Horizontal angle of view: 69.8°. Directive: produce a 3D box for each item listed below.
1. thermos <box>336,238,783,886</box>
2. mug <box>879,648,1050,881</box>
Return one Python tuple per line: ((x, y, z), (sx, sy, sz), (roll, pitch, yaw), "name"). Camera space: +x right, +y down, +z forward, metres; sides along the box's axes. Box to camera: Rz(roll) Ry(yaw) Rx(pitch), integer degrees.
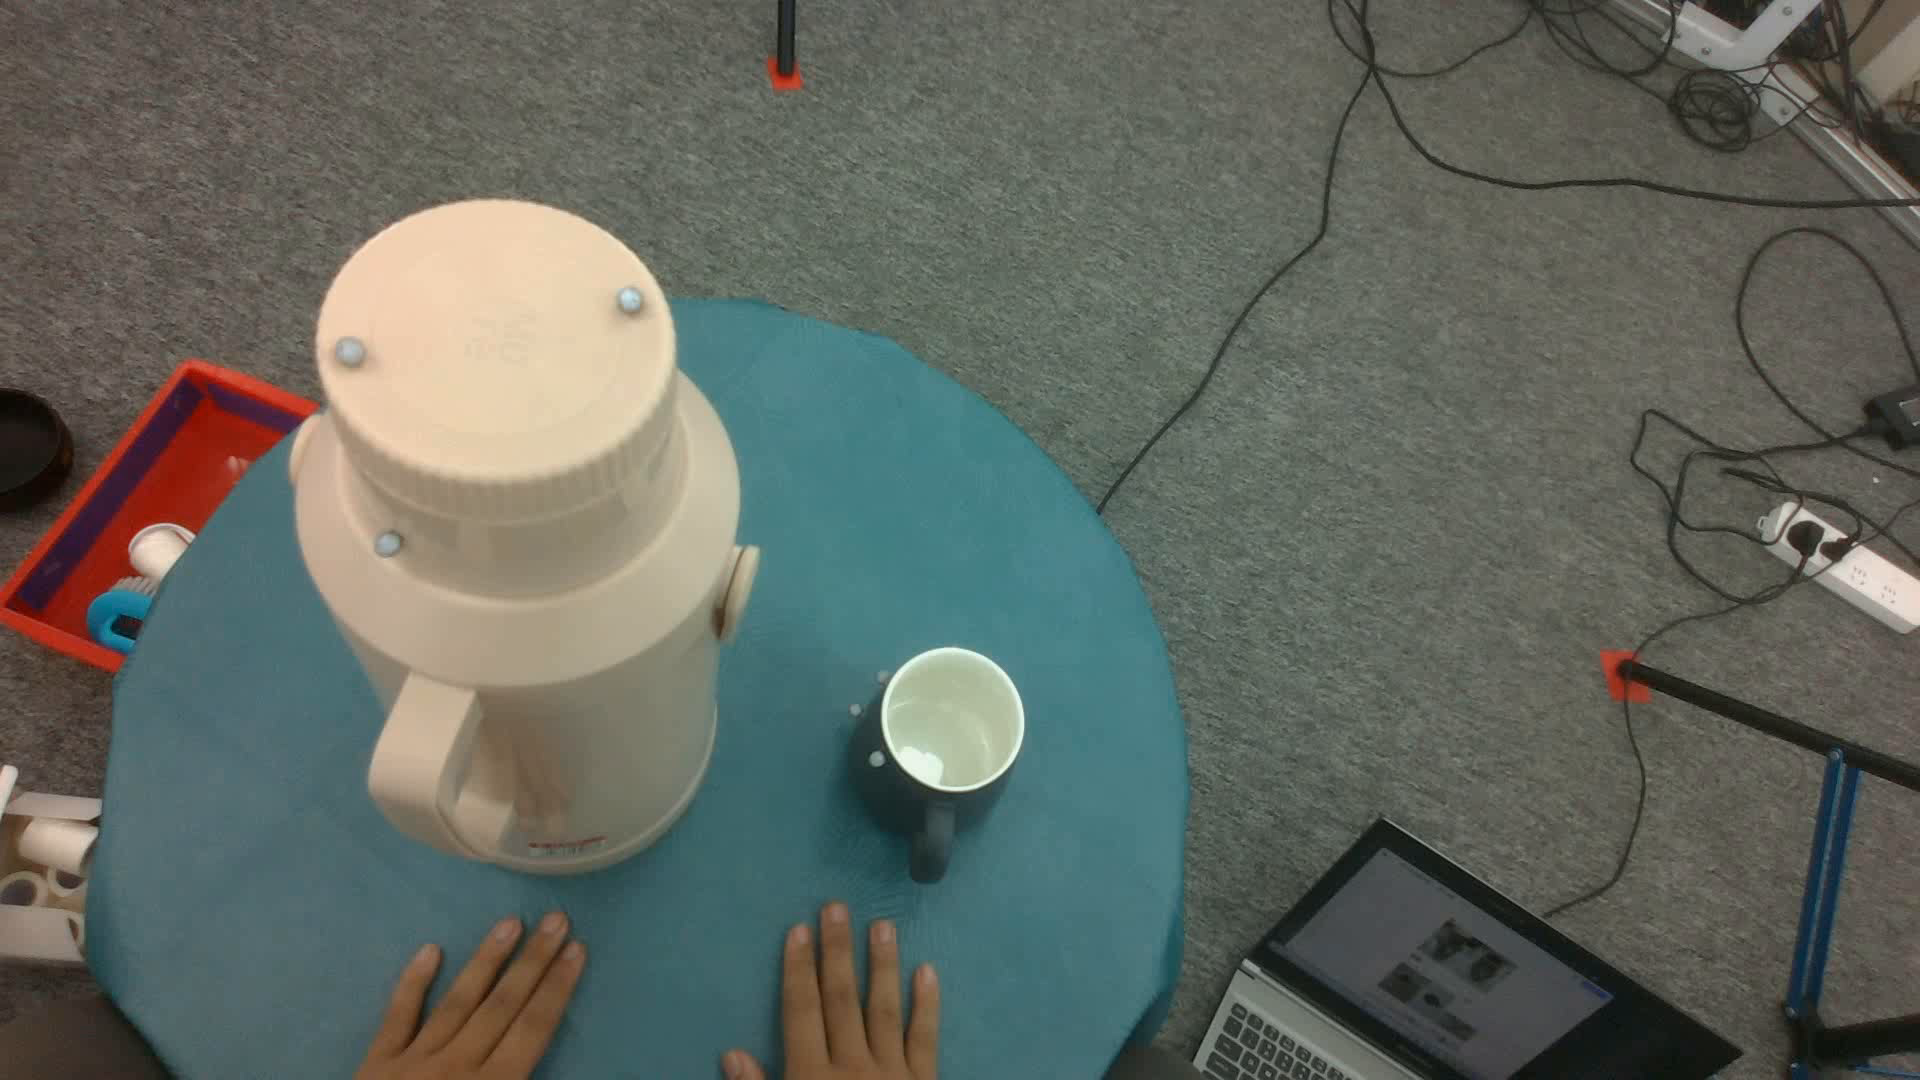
((-0.174, 0.045, 0.611), (0.175, 0.404, 0.208), (14, 62, -4), "thermos")
((0.002, 0.128, 0.774), (0.093, 0.089, 0.124), (8, 62, -6), "mug")
